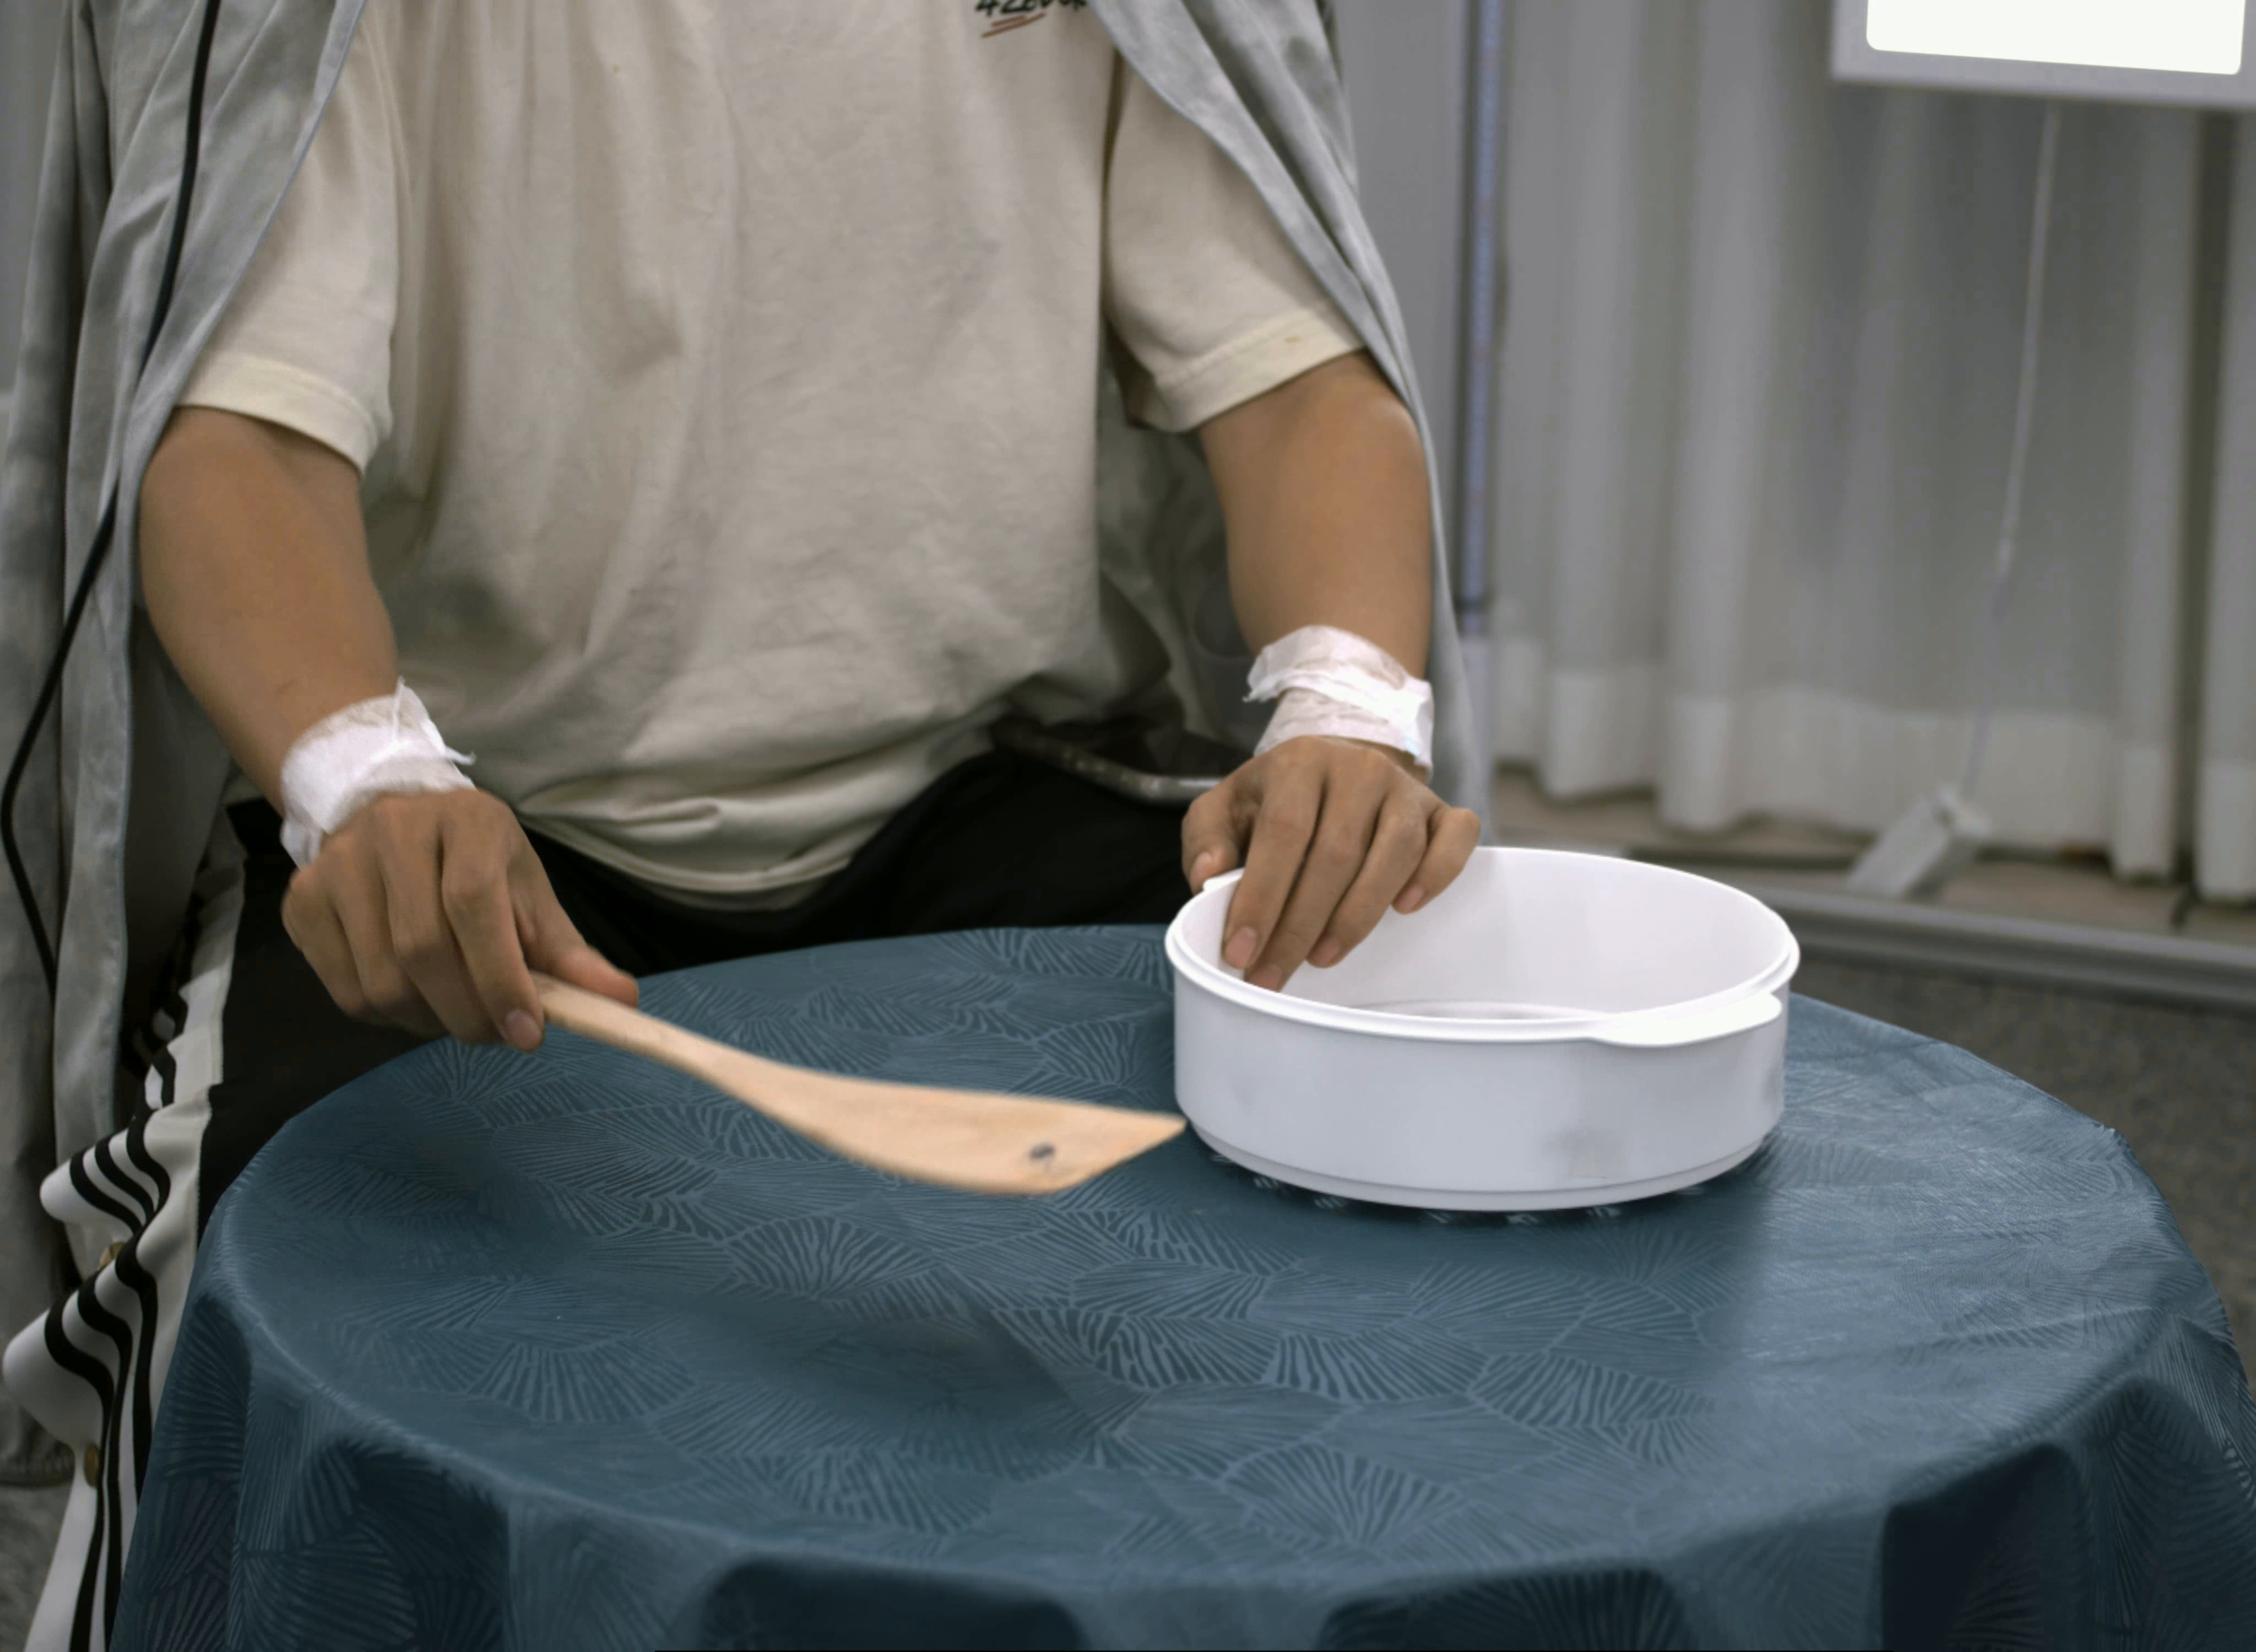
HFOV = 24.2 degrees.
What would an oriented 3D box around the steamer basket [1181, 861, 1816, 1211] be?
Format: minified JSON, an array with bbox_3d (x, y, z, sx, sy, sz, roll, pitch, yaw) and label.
[{"bbox_3d":[0.116,0.066,1.673,0.203,0.070,0.227,-9,17,-37],"label":"steamer basket"}]

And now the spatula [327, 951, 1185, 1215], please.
[{"bbox_3d":[-0.120,0.070,1.536,0.323,0.016,0.080,15,19,38],"label":"spatula"}]
